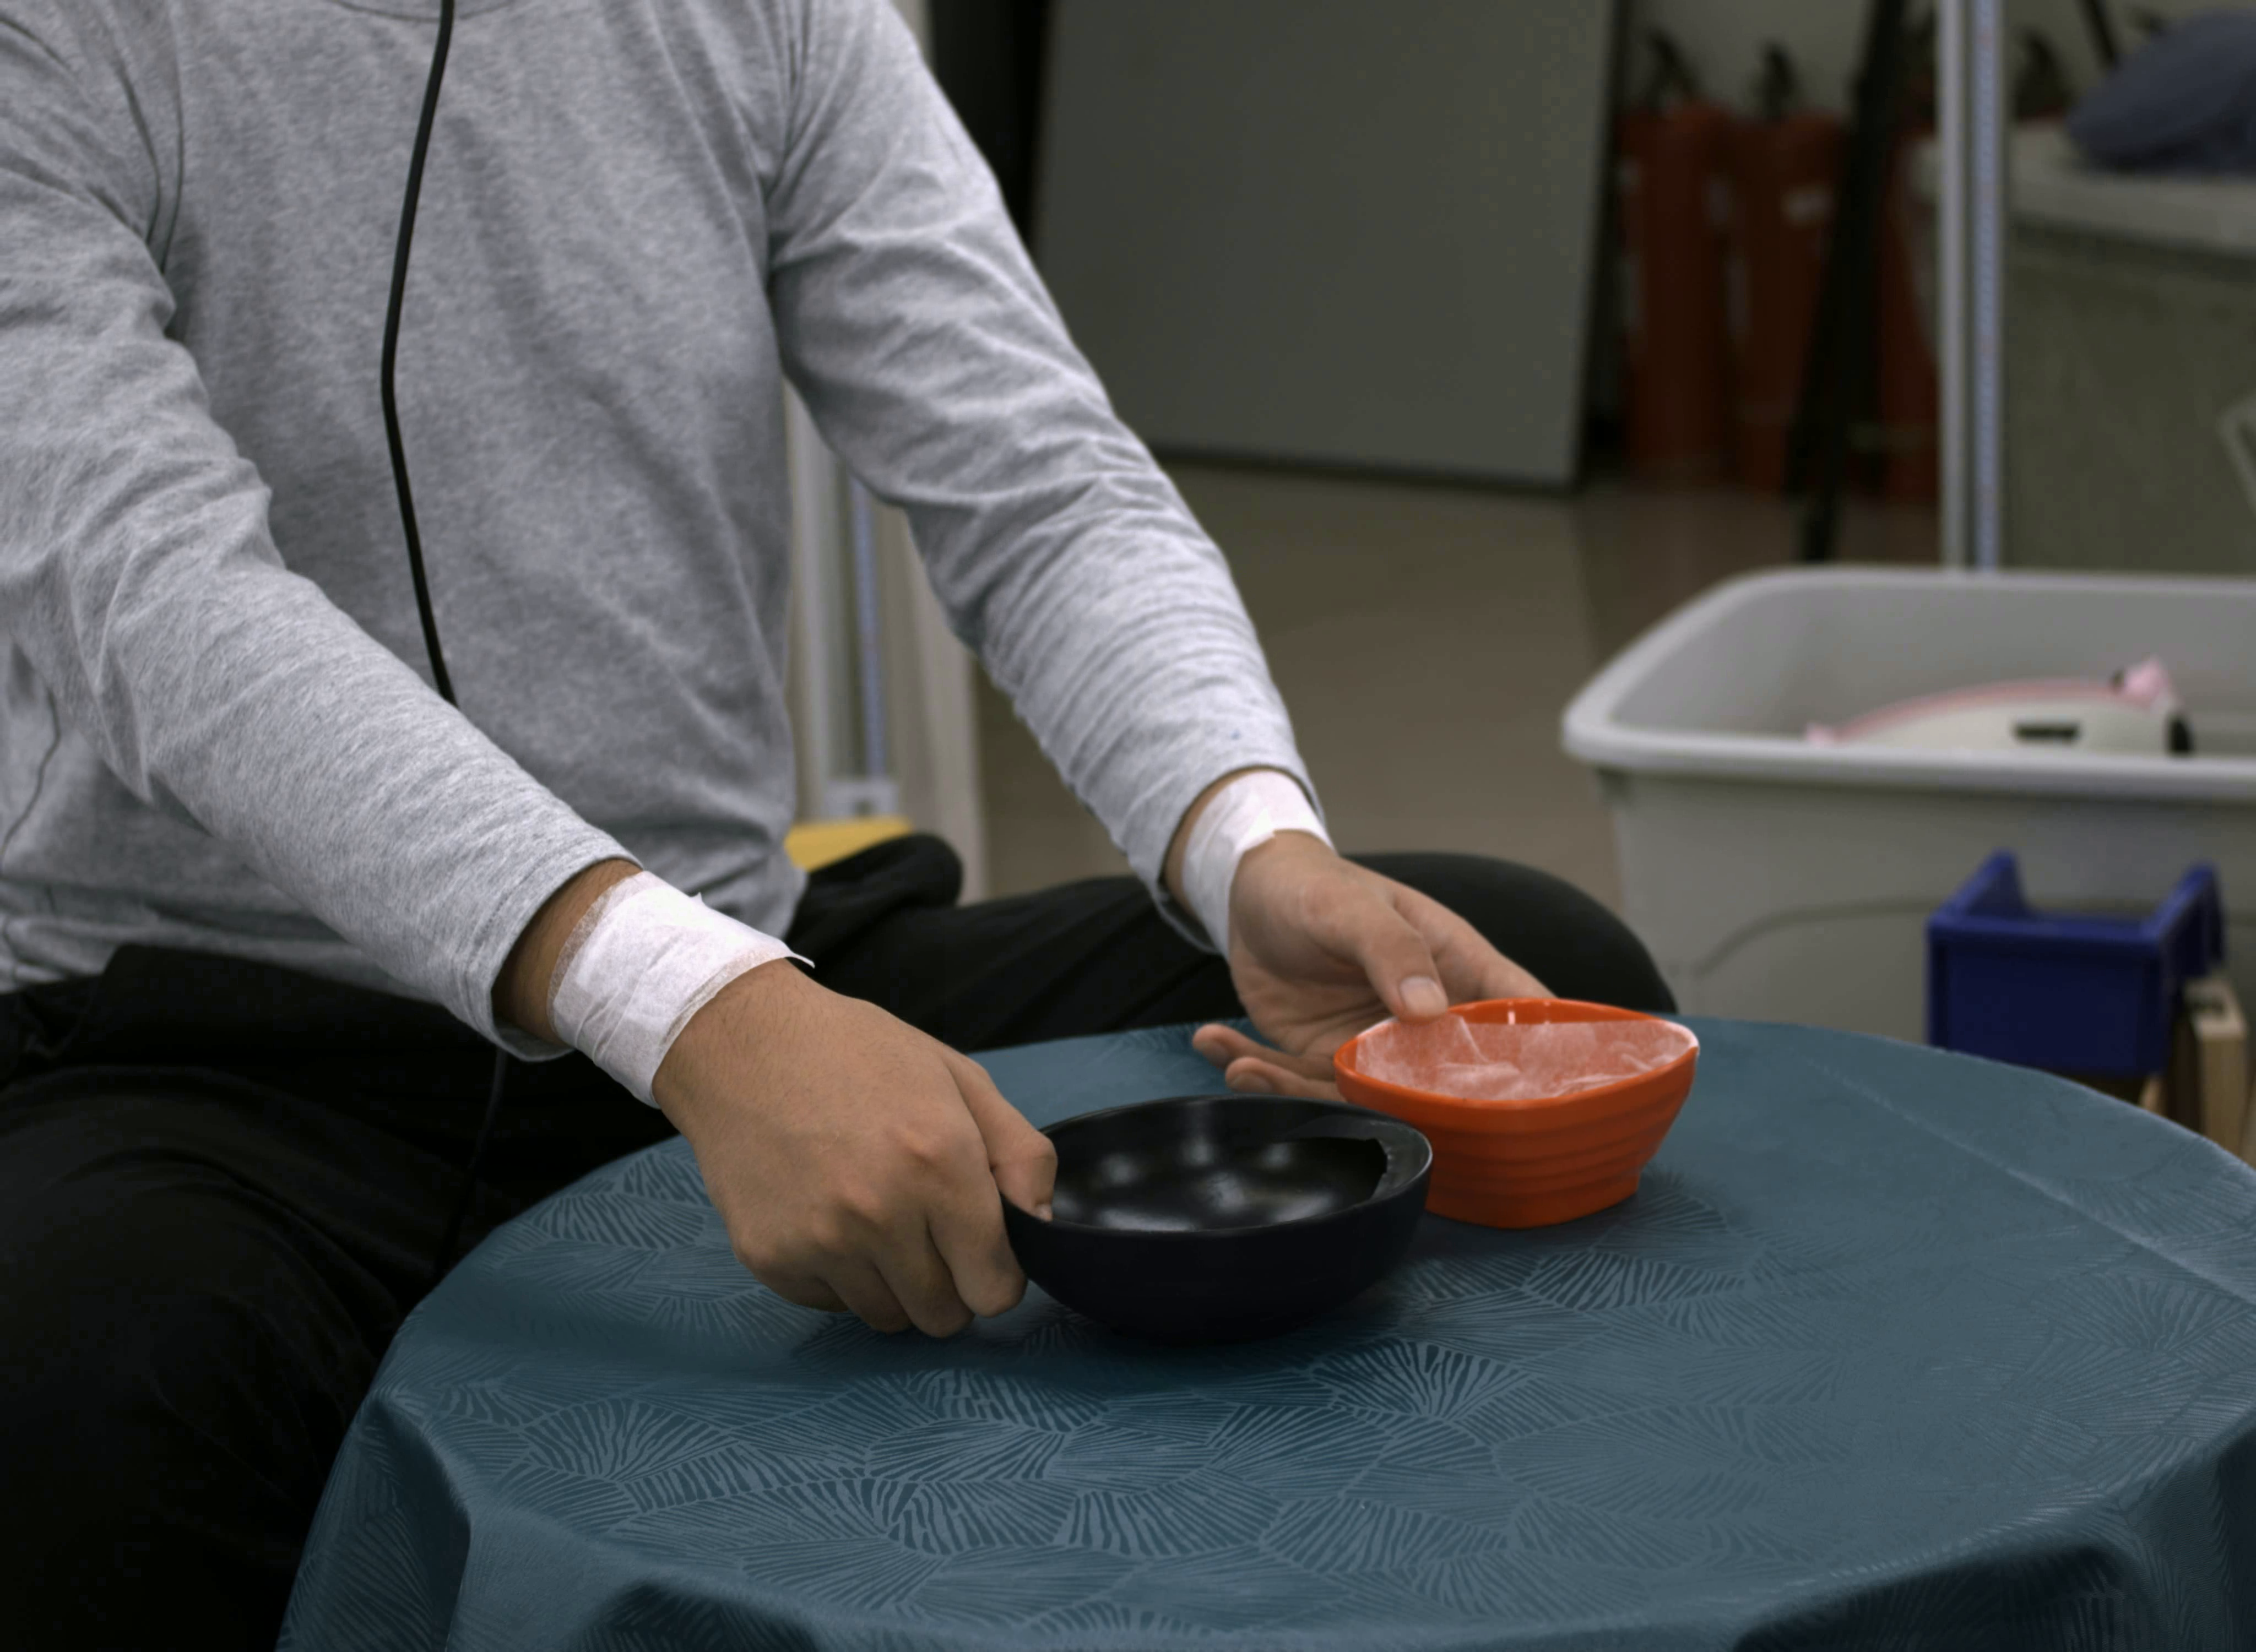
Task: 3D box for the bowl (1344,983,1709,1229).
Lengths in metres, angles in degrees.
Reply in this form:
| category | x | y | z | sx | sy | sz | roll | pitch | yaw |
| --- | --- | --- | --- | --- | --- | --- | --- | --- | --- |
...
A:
| category | x | y | z | sx | sy | sz | roll | pitch | yaw |
| --- | --- | --- | --- | --- | --- | --- | --- | --- | --- |
| bowl | 0.129 | 0.092 | 1.738 | 0.117 | 0.052 | 0.119 | -3 | 17 | 0 |

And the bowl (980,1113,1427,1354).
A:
| category | x | y | z | sx | sy | sz | roll | pitch | yaw |
| --- | --- | --- | --- | --- | --- | --- | --- | --- | --- |
| bowl | 0.025 | 0.128 | 1.647 | 0.138 | 0.050 | 0.140 | -5 | 10 | 0 |
